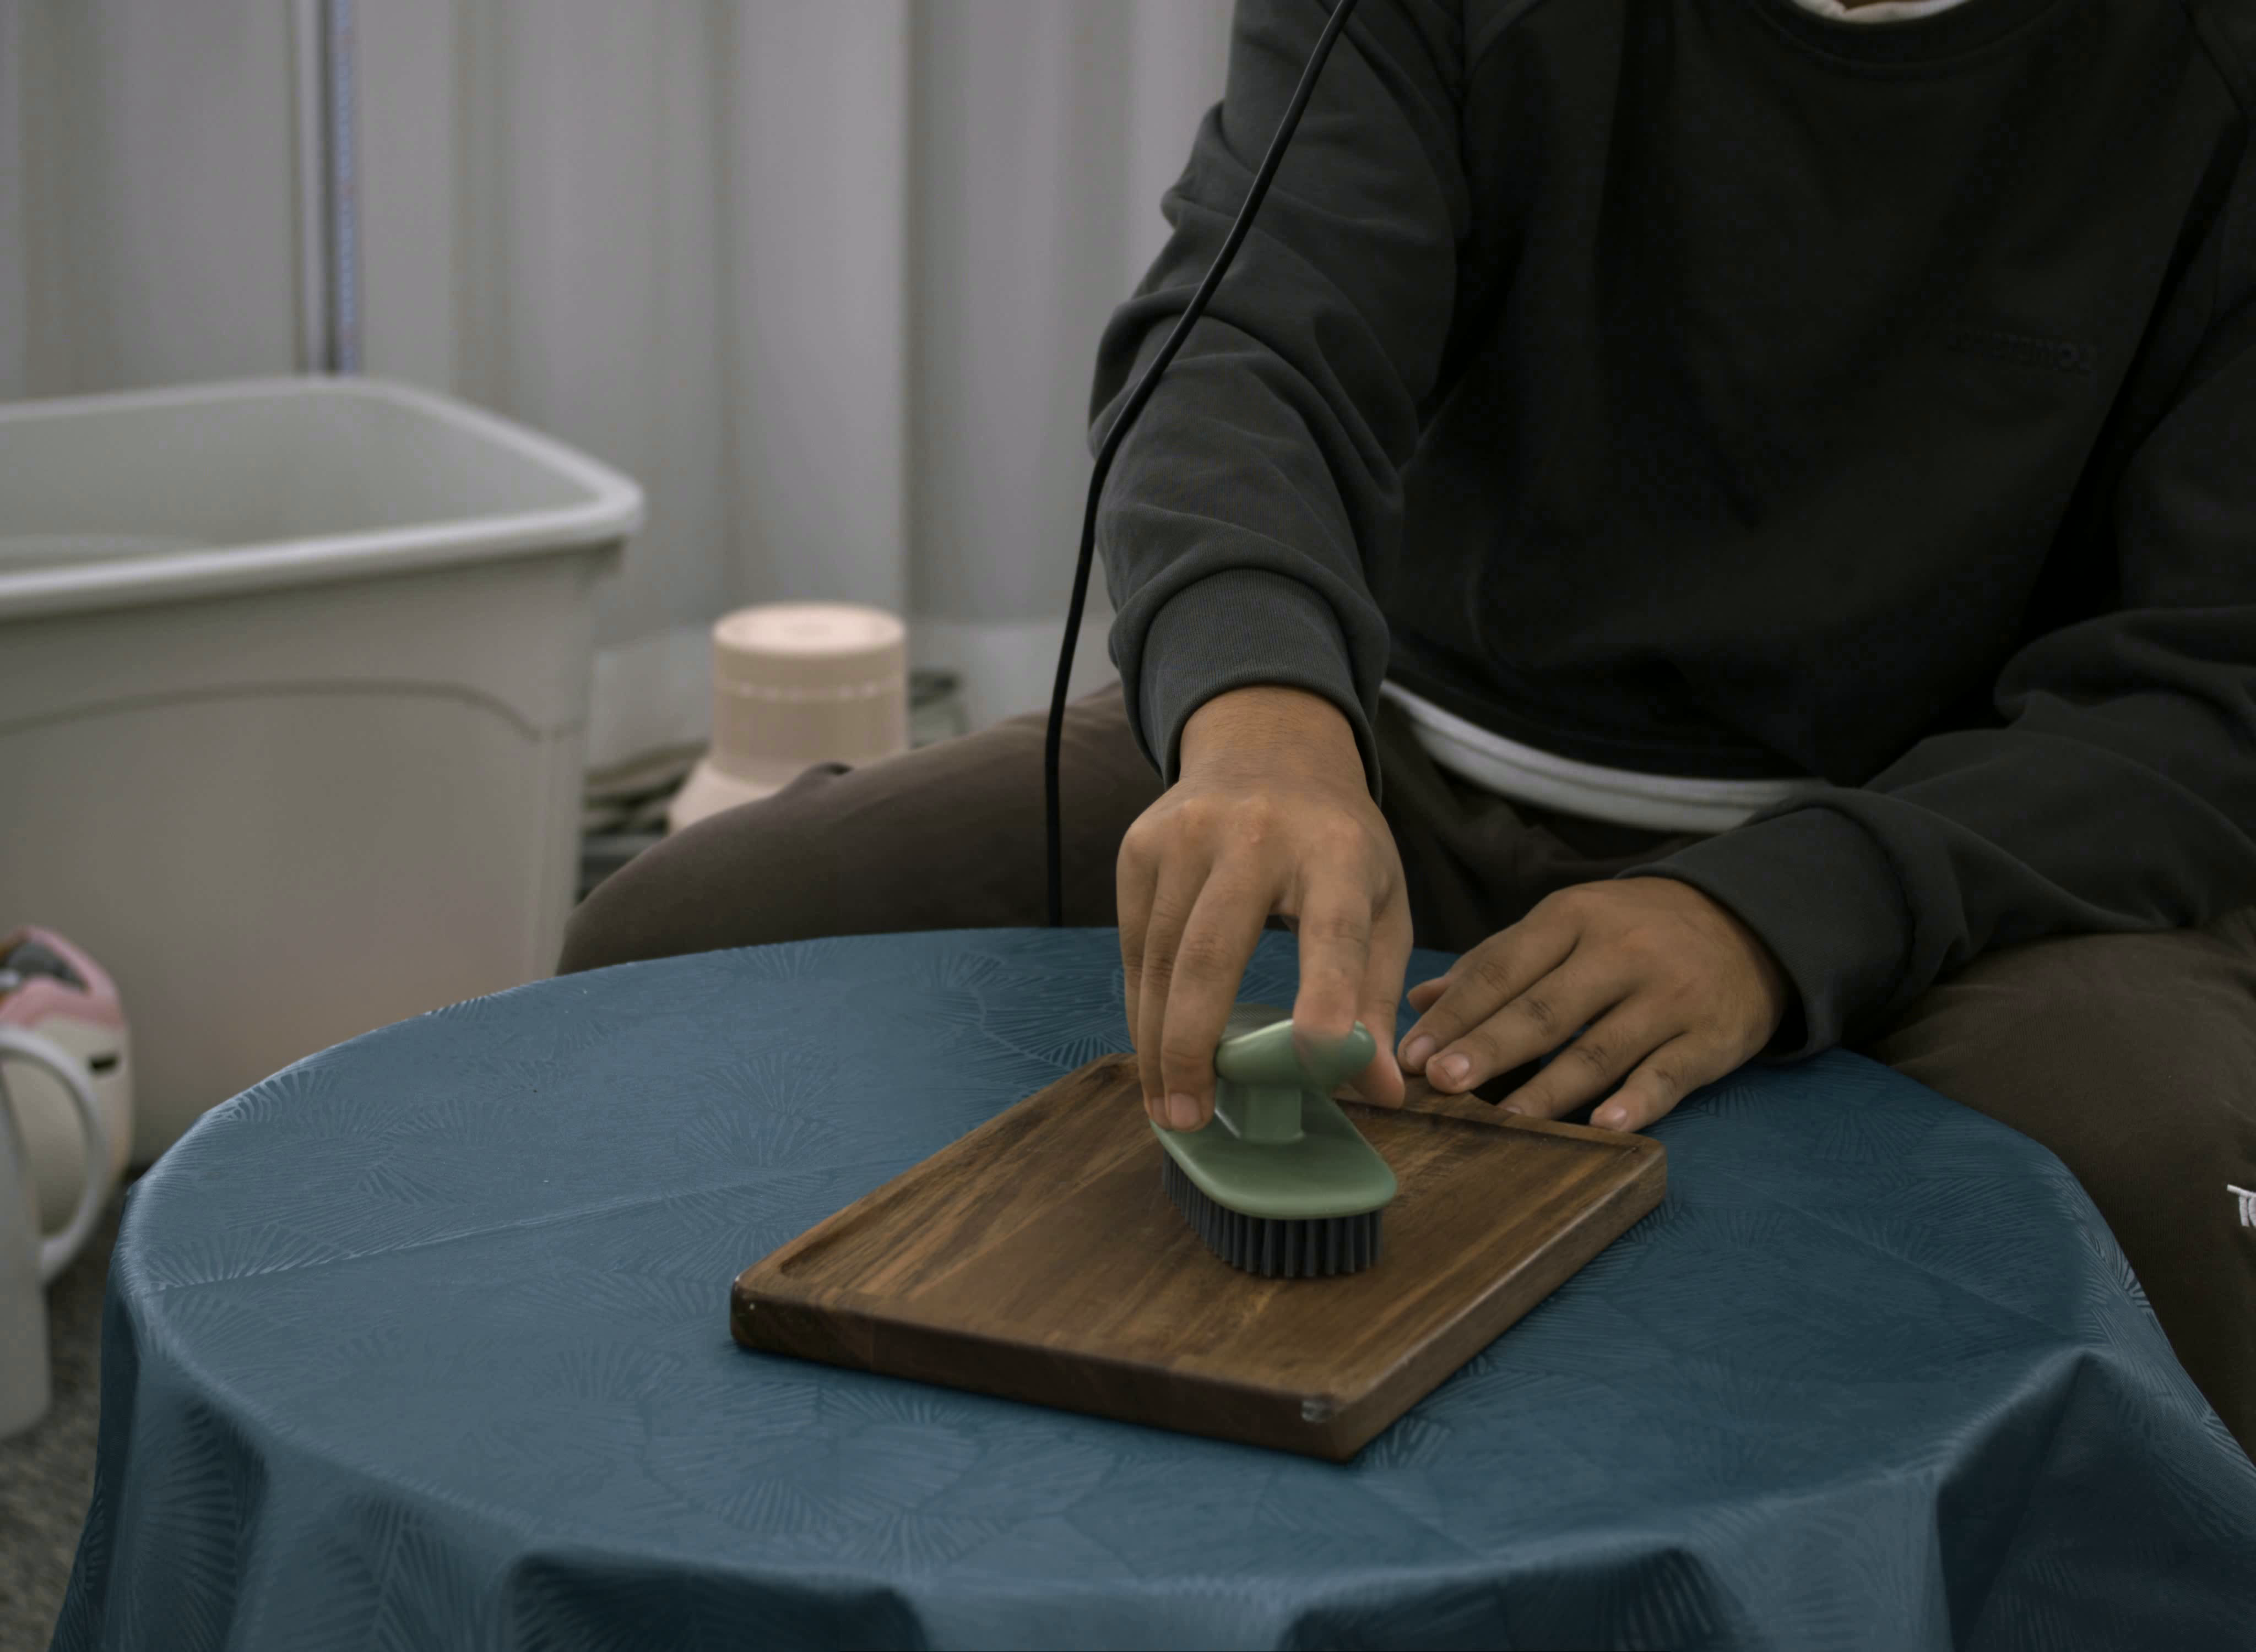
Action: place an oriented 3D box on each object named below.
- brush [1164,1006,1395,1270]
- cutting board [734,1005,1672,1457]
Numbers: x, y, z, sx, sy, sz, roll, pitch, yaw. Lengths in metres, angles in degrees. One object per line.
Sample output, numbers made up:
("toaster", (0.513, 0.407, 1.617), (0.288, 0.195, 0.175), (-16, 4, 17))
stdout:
("brush", (0.045, 0.091, 1.553), (0.059, 0.076, 0.122), (1, -1, -10))
("cutting board", (0.050, 0.110, 1.599), (0.199, 0.023, 0.353), (8, 17, 25))
